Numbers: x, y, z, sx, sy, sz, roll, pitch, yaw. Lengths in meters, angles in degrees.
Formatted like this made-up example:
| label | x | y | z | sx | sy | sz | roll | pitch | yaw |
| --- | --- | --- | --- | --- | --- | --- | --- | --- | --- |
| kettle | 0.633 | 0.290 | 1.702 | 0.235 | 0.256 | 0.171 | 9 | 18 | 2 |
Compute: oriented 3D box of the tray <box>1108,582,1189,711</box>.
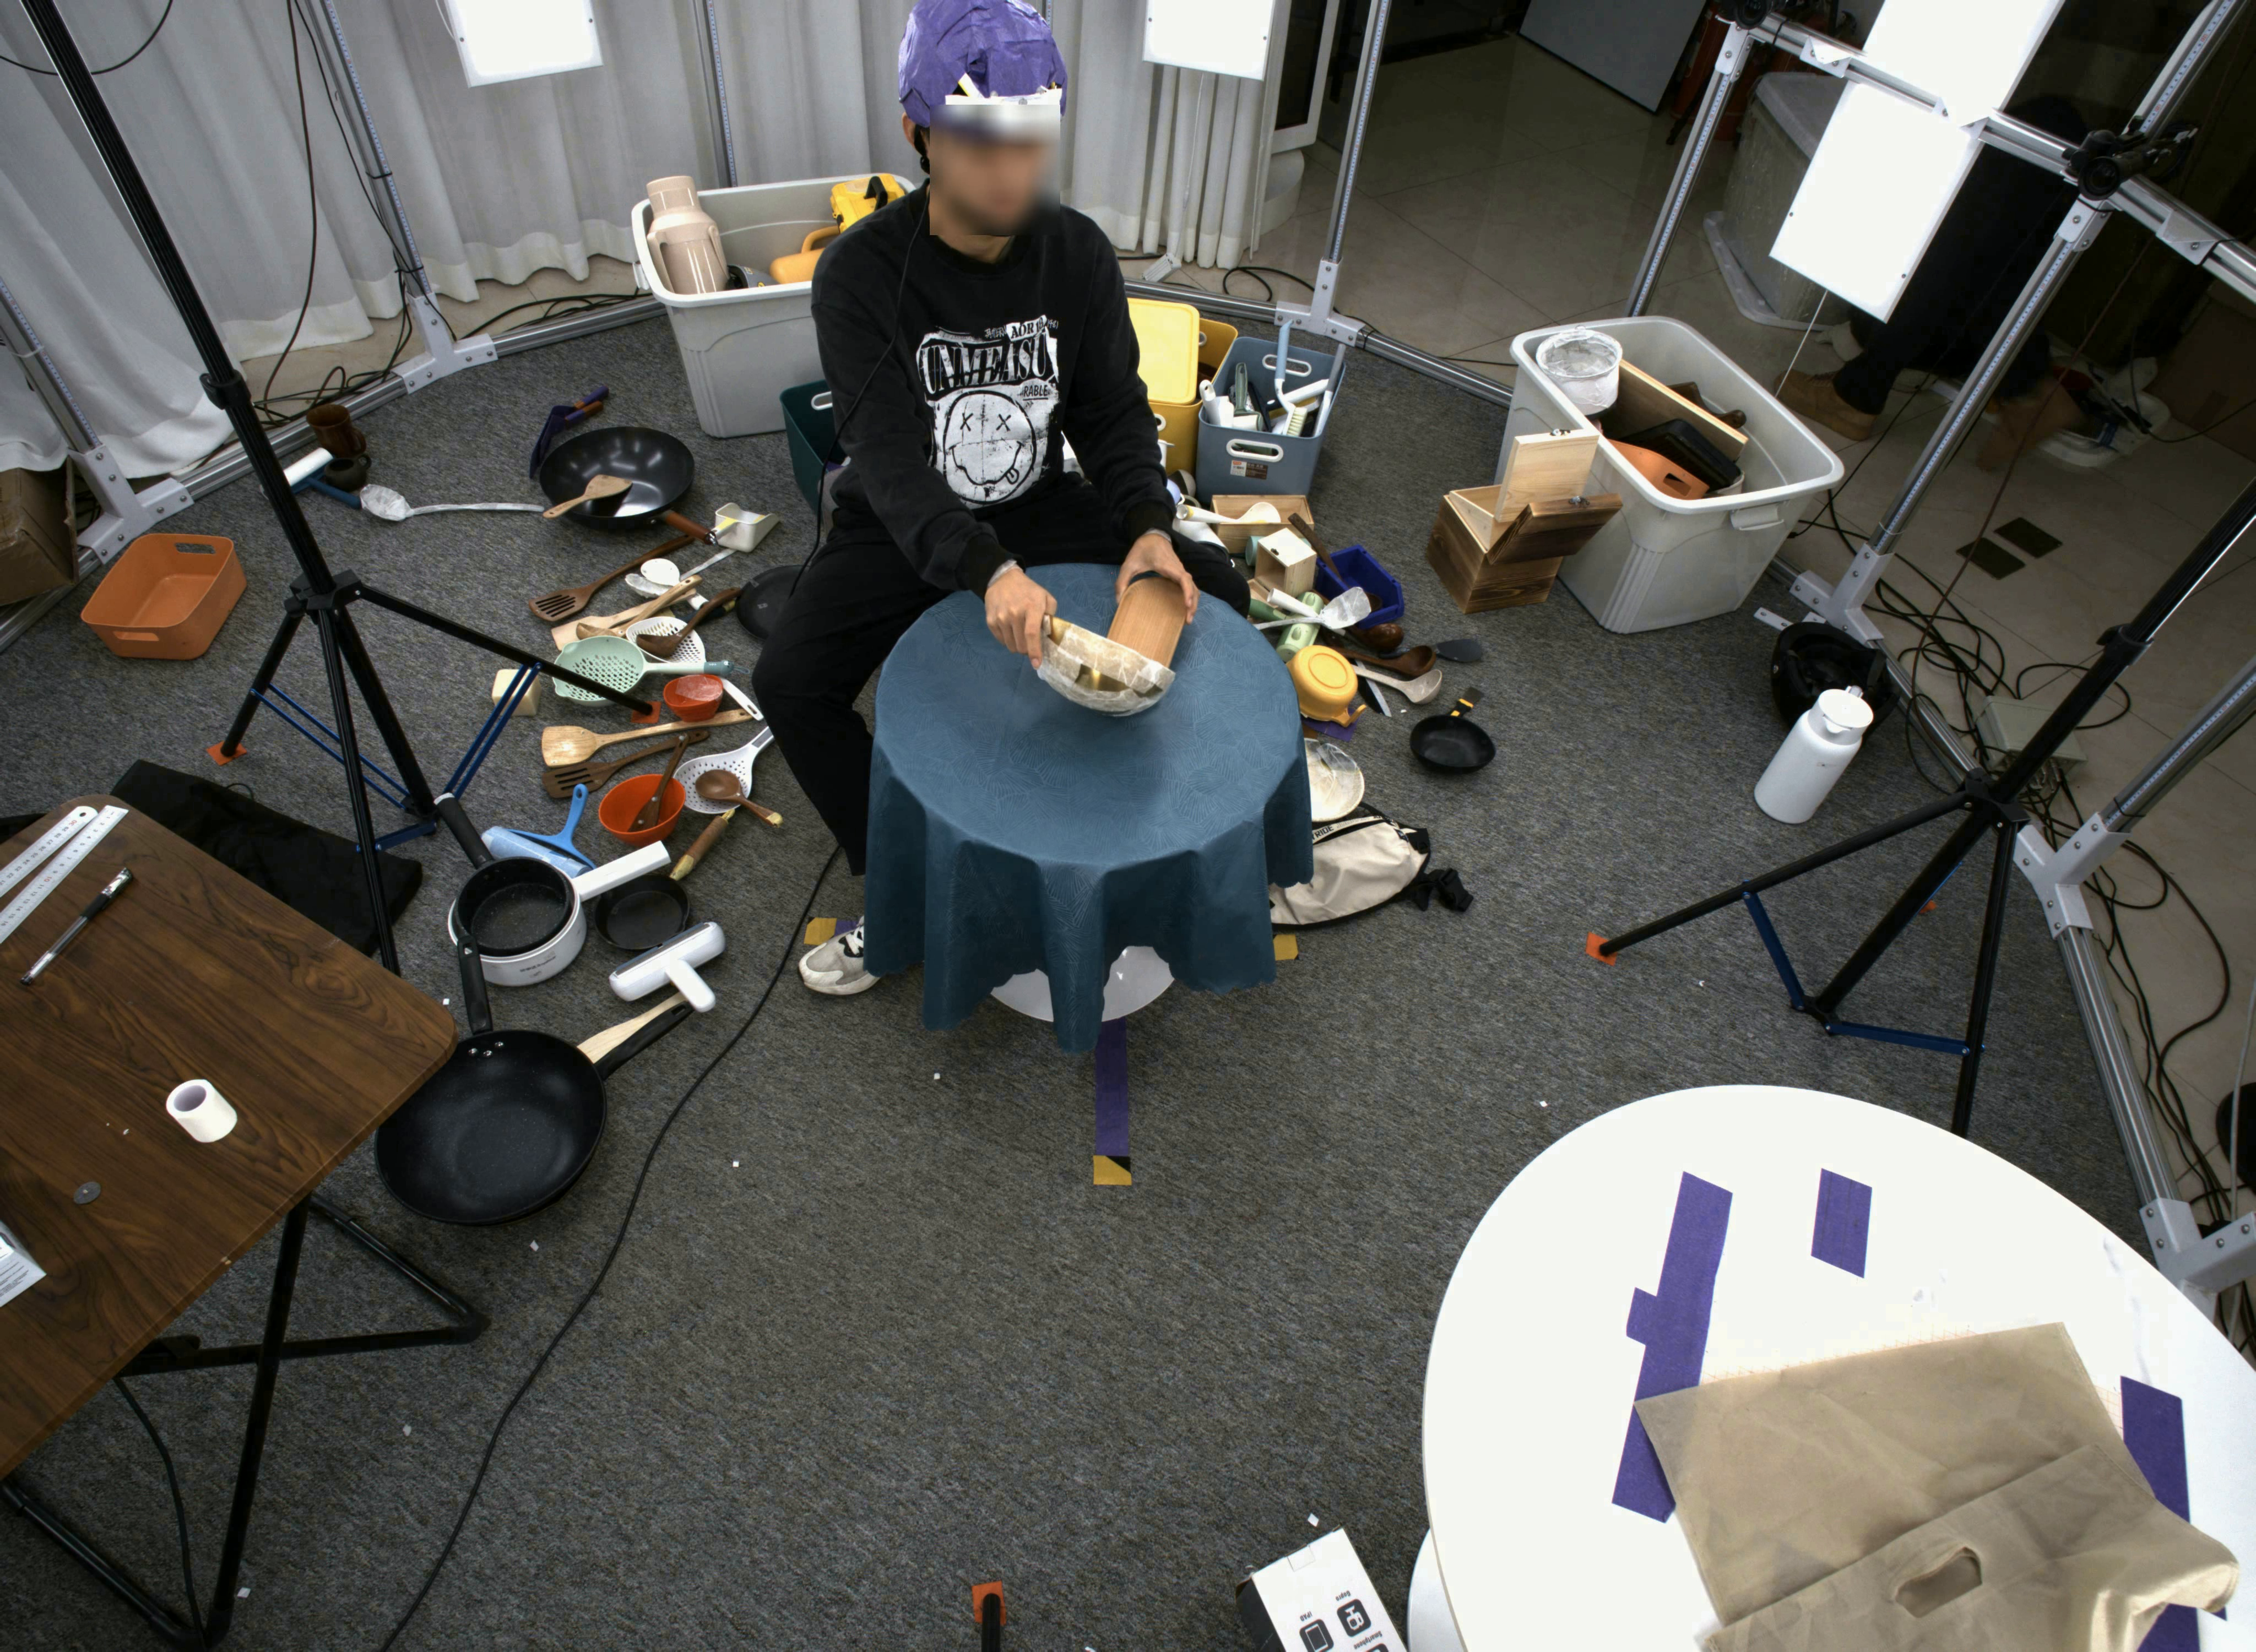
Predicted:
| label | x | y | z | sx | sy | sz | roll | pitch | yaw |
| --- | --- | --- | --- | --- | --- | --- | --- | --- | --- |
| tray | 0.022 | -0.263 | 1.876 | 0.102 | 0.020 | 0.235 | 11 | 62 | 12 |

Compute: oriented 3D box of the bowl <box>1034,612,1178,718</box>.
| label | x | y | z | sx | sy | sz | roll | pitch | yaw |
| --- | --- | --- | --- | --- | --- | --- | --- | --- | --- |
| bowl | -0.044 | -0.202 | 1.726 | 0.216 | 0.213 | 0.094 | 25 | 95 | 16 |
